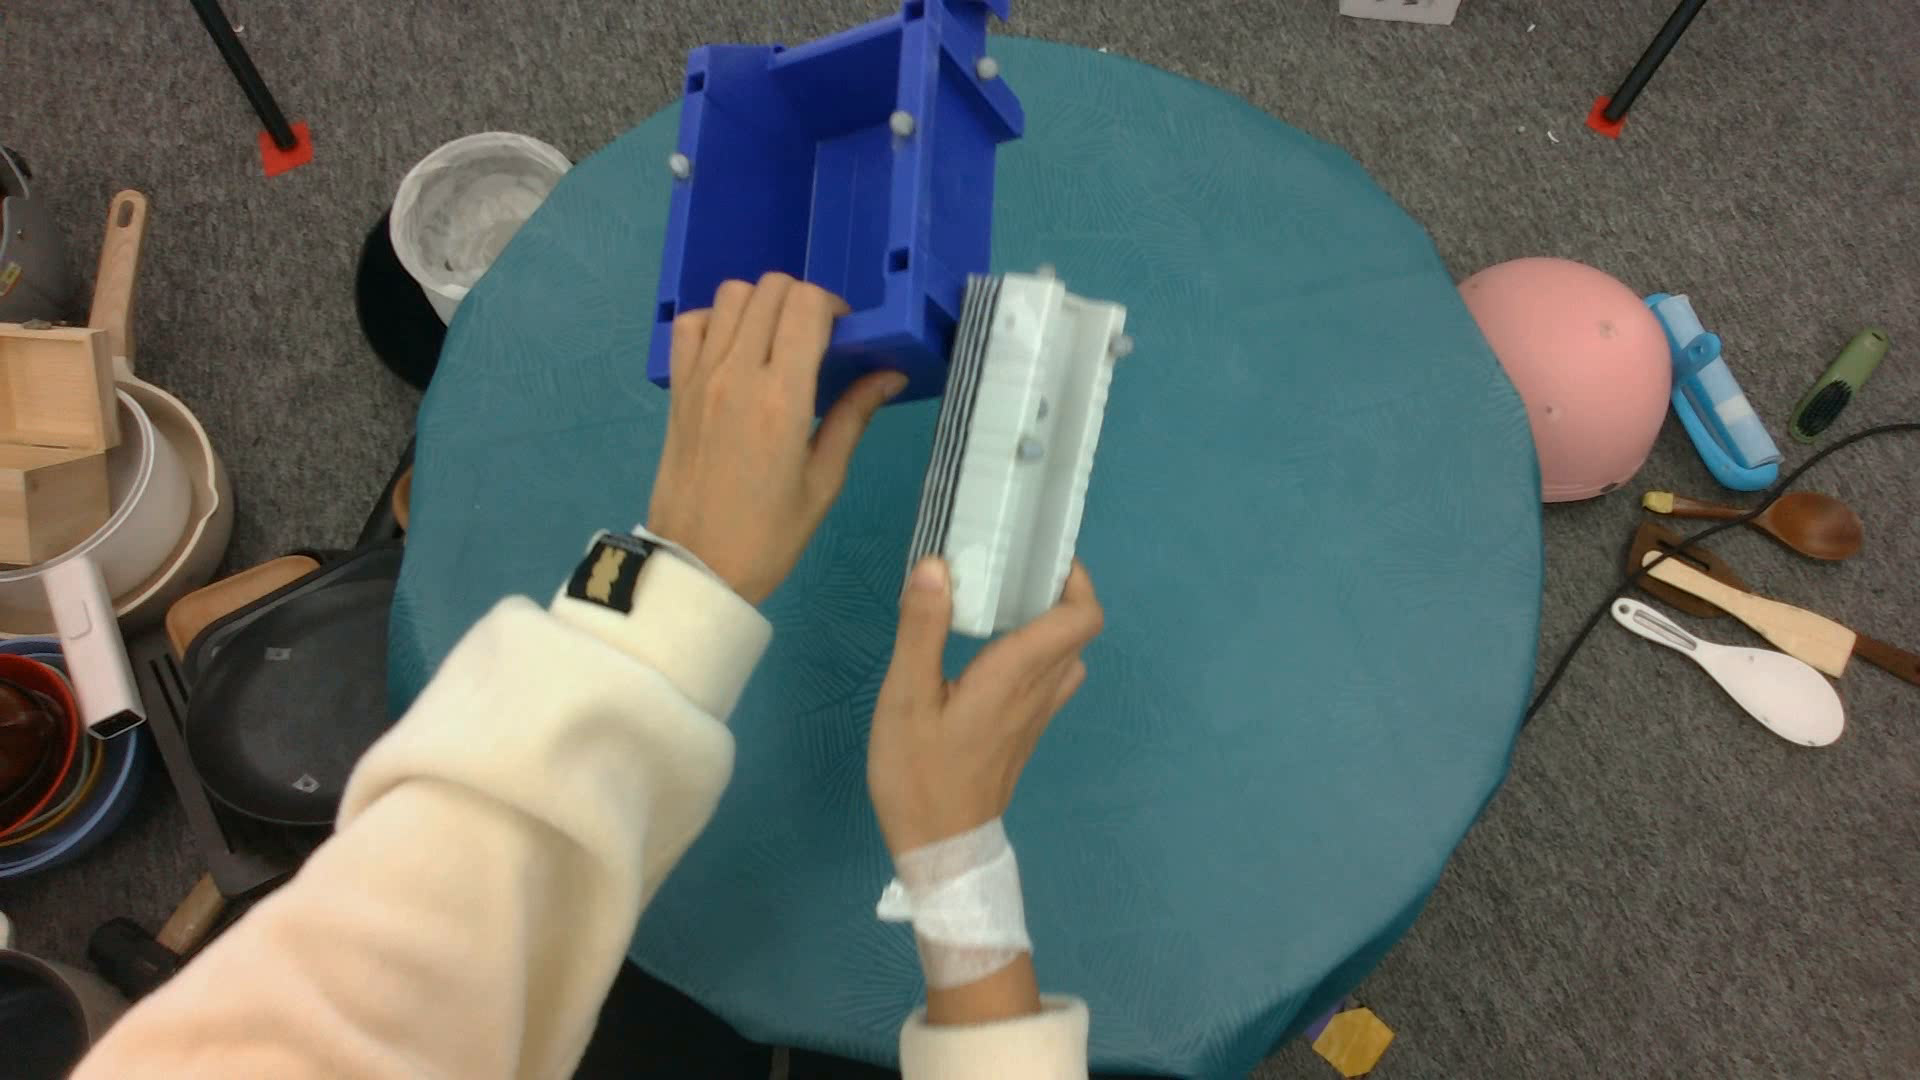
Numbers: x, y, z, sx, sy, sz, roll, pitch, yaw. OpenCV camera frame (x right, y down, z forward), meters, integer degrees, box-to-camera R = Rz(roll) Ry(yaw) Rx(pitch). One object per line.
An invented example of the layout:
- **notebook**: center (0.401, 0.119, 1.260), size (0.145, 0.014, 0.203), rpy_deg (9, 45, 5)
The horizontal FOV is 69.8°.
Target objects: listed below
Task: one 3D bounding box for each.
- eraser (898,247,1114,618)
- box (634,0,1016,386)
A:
- **eraser**: center (0.016, -0.040, 0.522), size (0.046, 0.050, 0.134), rpy_deg (13, 95, 38)
- **box**: center (-0.052, -0.154, 0.571), size (0.124, 0.082, 0.180), rpy_deg (-4, 73, 27)
